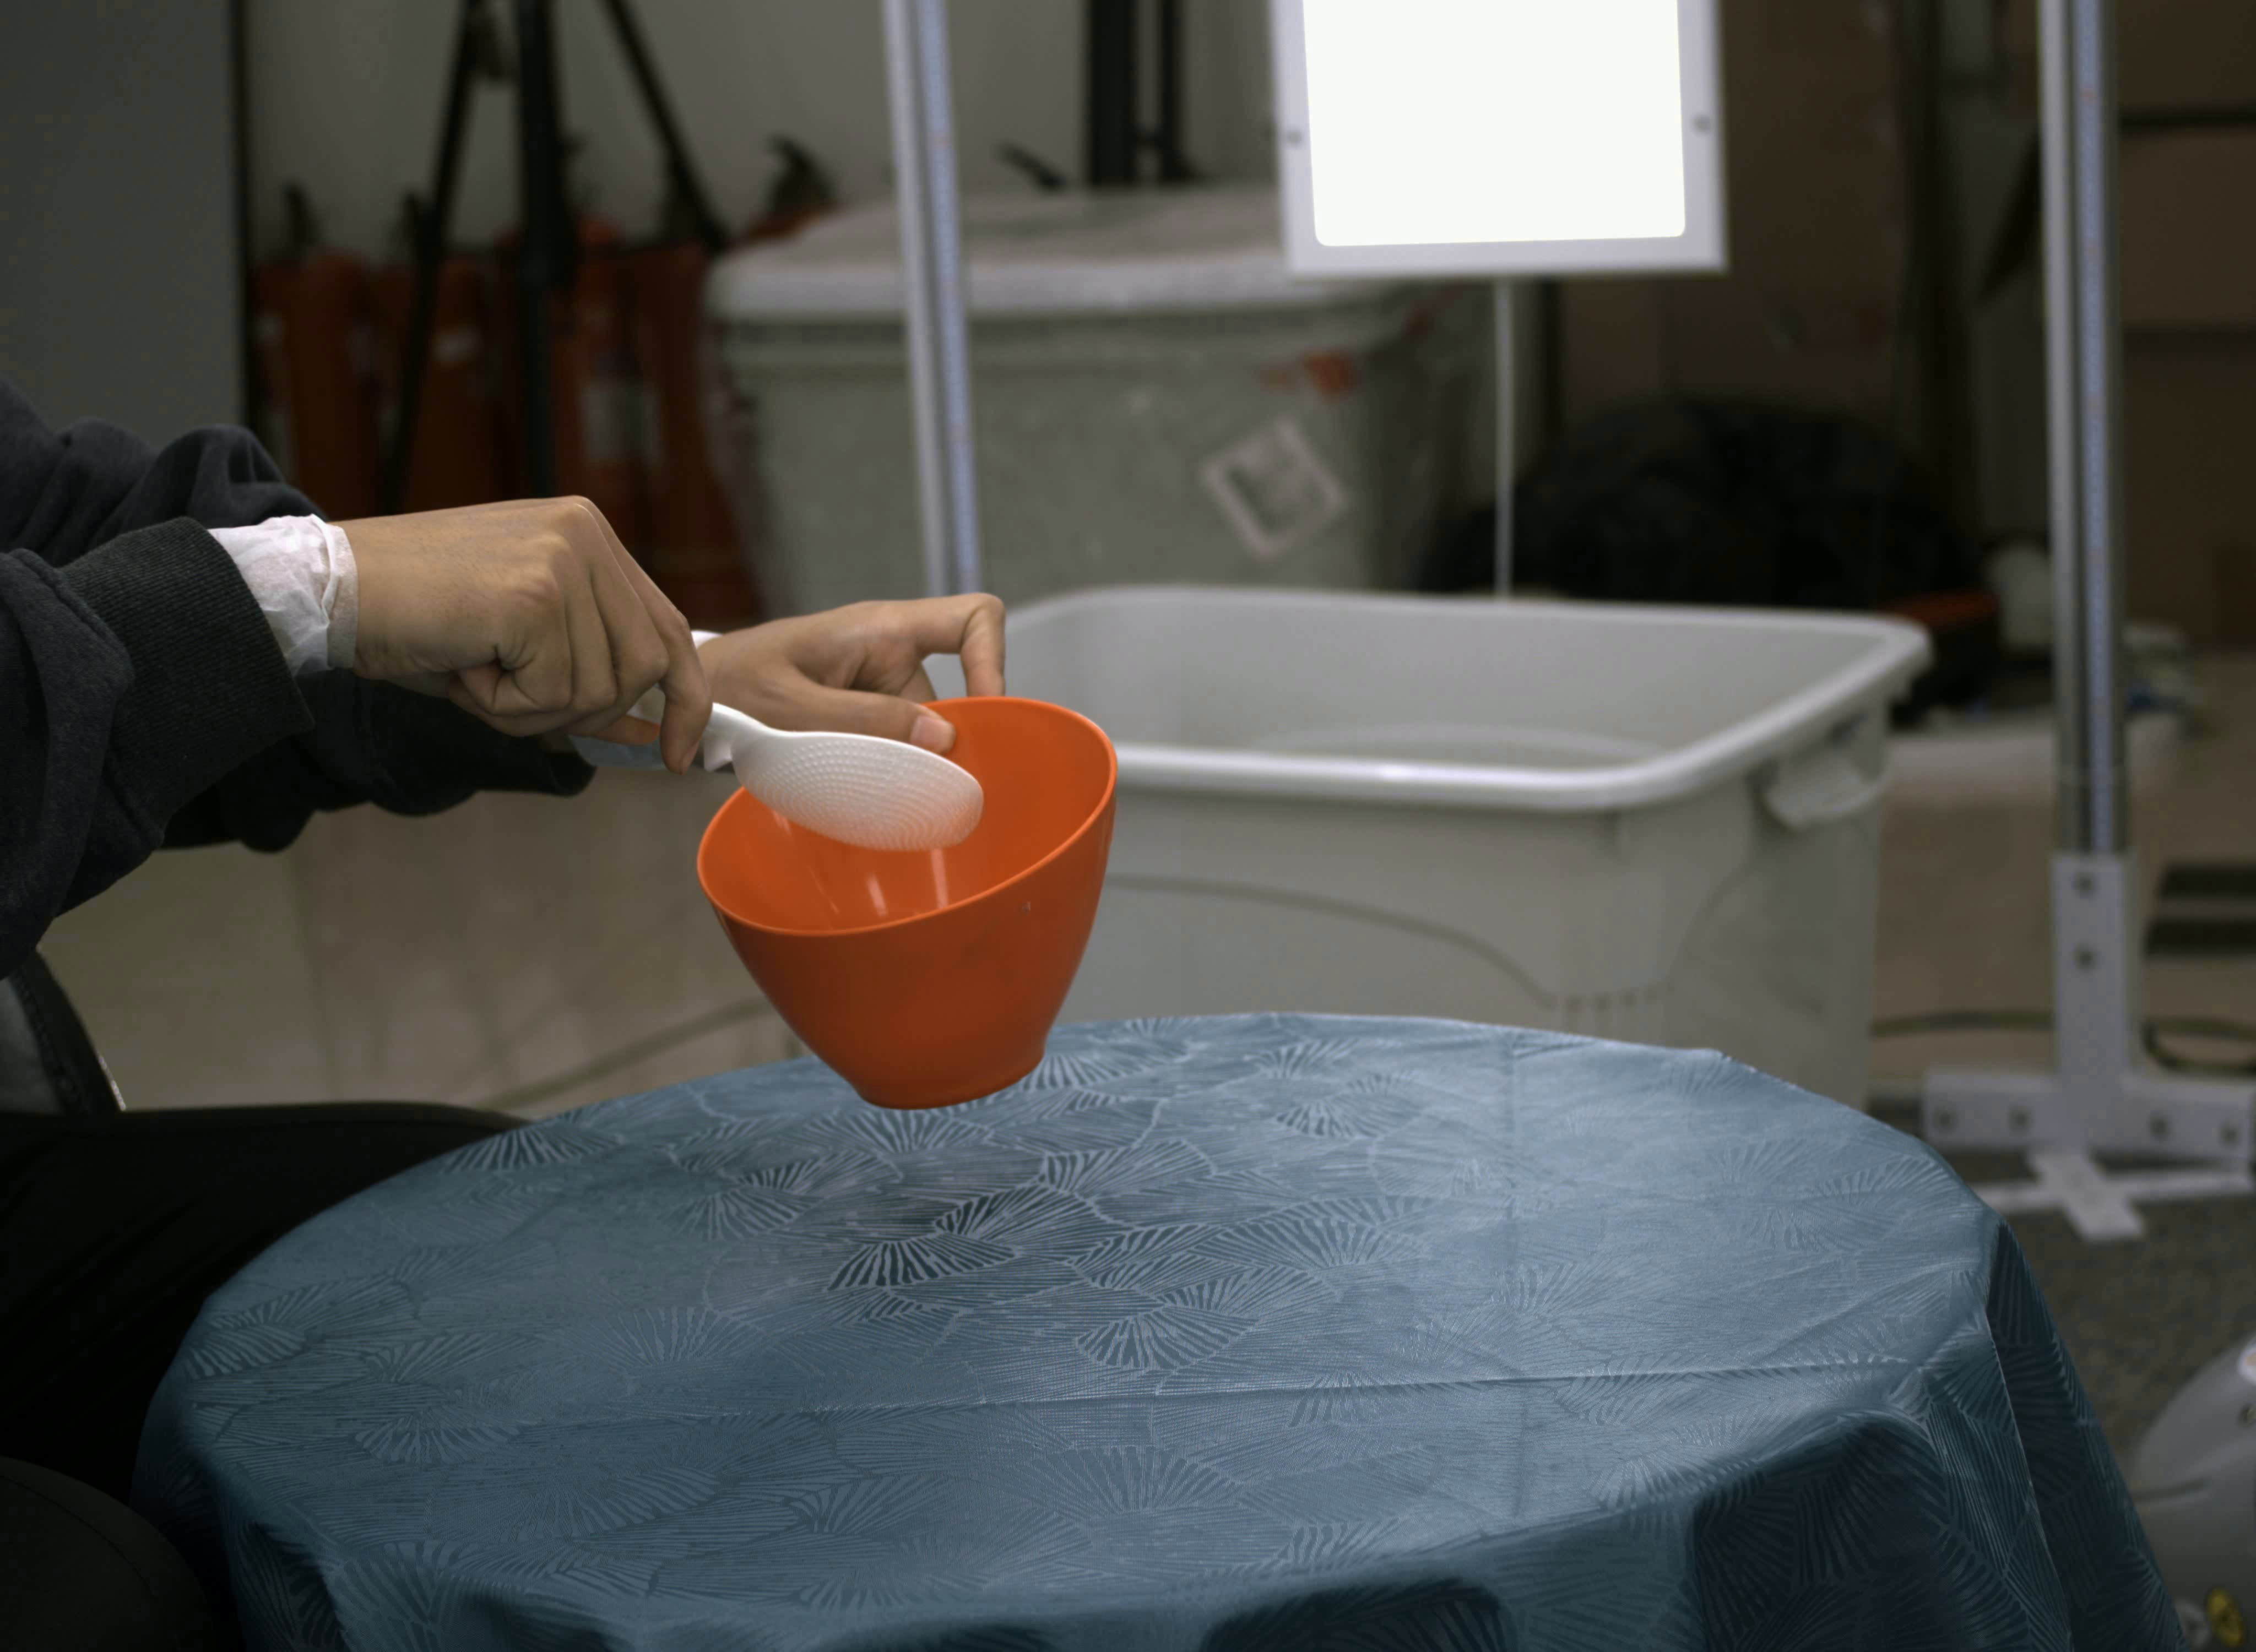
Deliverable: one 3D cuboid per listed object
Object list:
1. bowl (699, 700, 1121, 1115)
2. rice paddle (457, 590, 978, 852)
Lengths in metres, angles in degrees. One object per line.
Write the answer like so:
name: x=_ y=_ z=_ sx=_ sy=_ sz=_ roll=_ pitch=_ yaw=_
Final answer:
bowl: x=-0.067 y=0.033 z=1.878 sx=0.148 sy=0.105 sz=0.148 roll=-11 pitch=21 yaw=3
rice paddle: x=-0.132 y=-0.030 z=1.819 sx=0.201 sy=0.029 sz=0.070 roll=24 pitch=-33 yaw=-37
